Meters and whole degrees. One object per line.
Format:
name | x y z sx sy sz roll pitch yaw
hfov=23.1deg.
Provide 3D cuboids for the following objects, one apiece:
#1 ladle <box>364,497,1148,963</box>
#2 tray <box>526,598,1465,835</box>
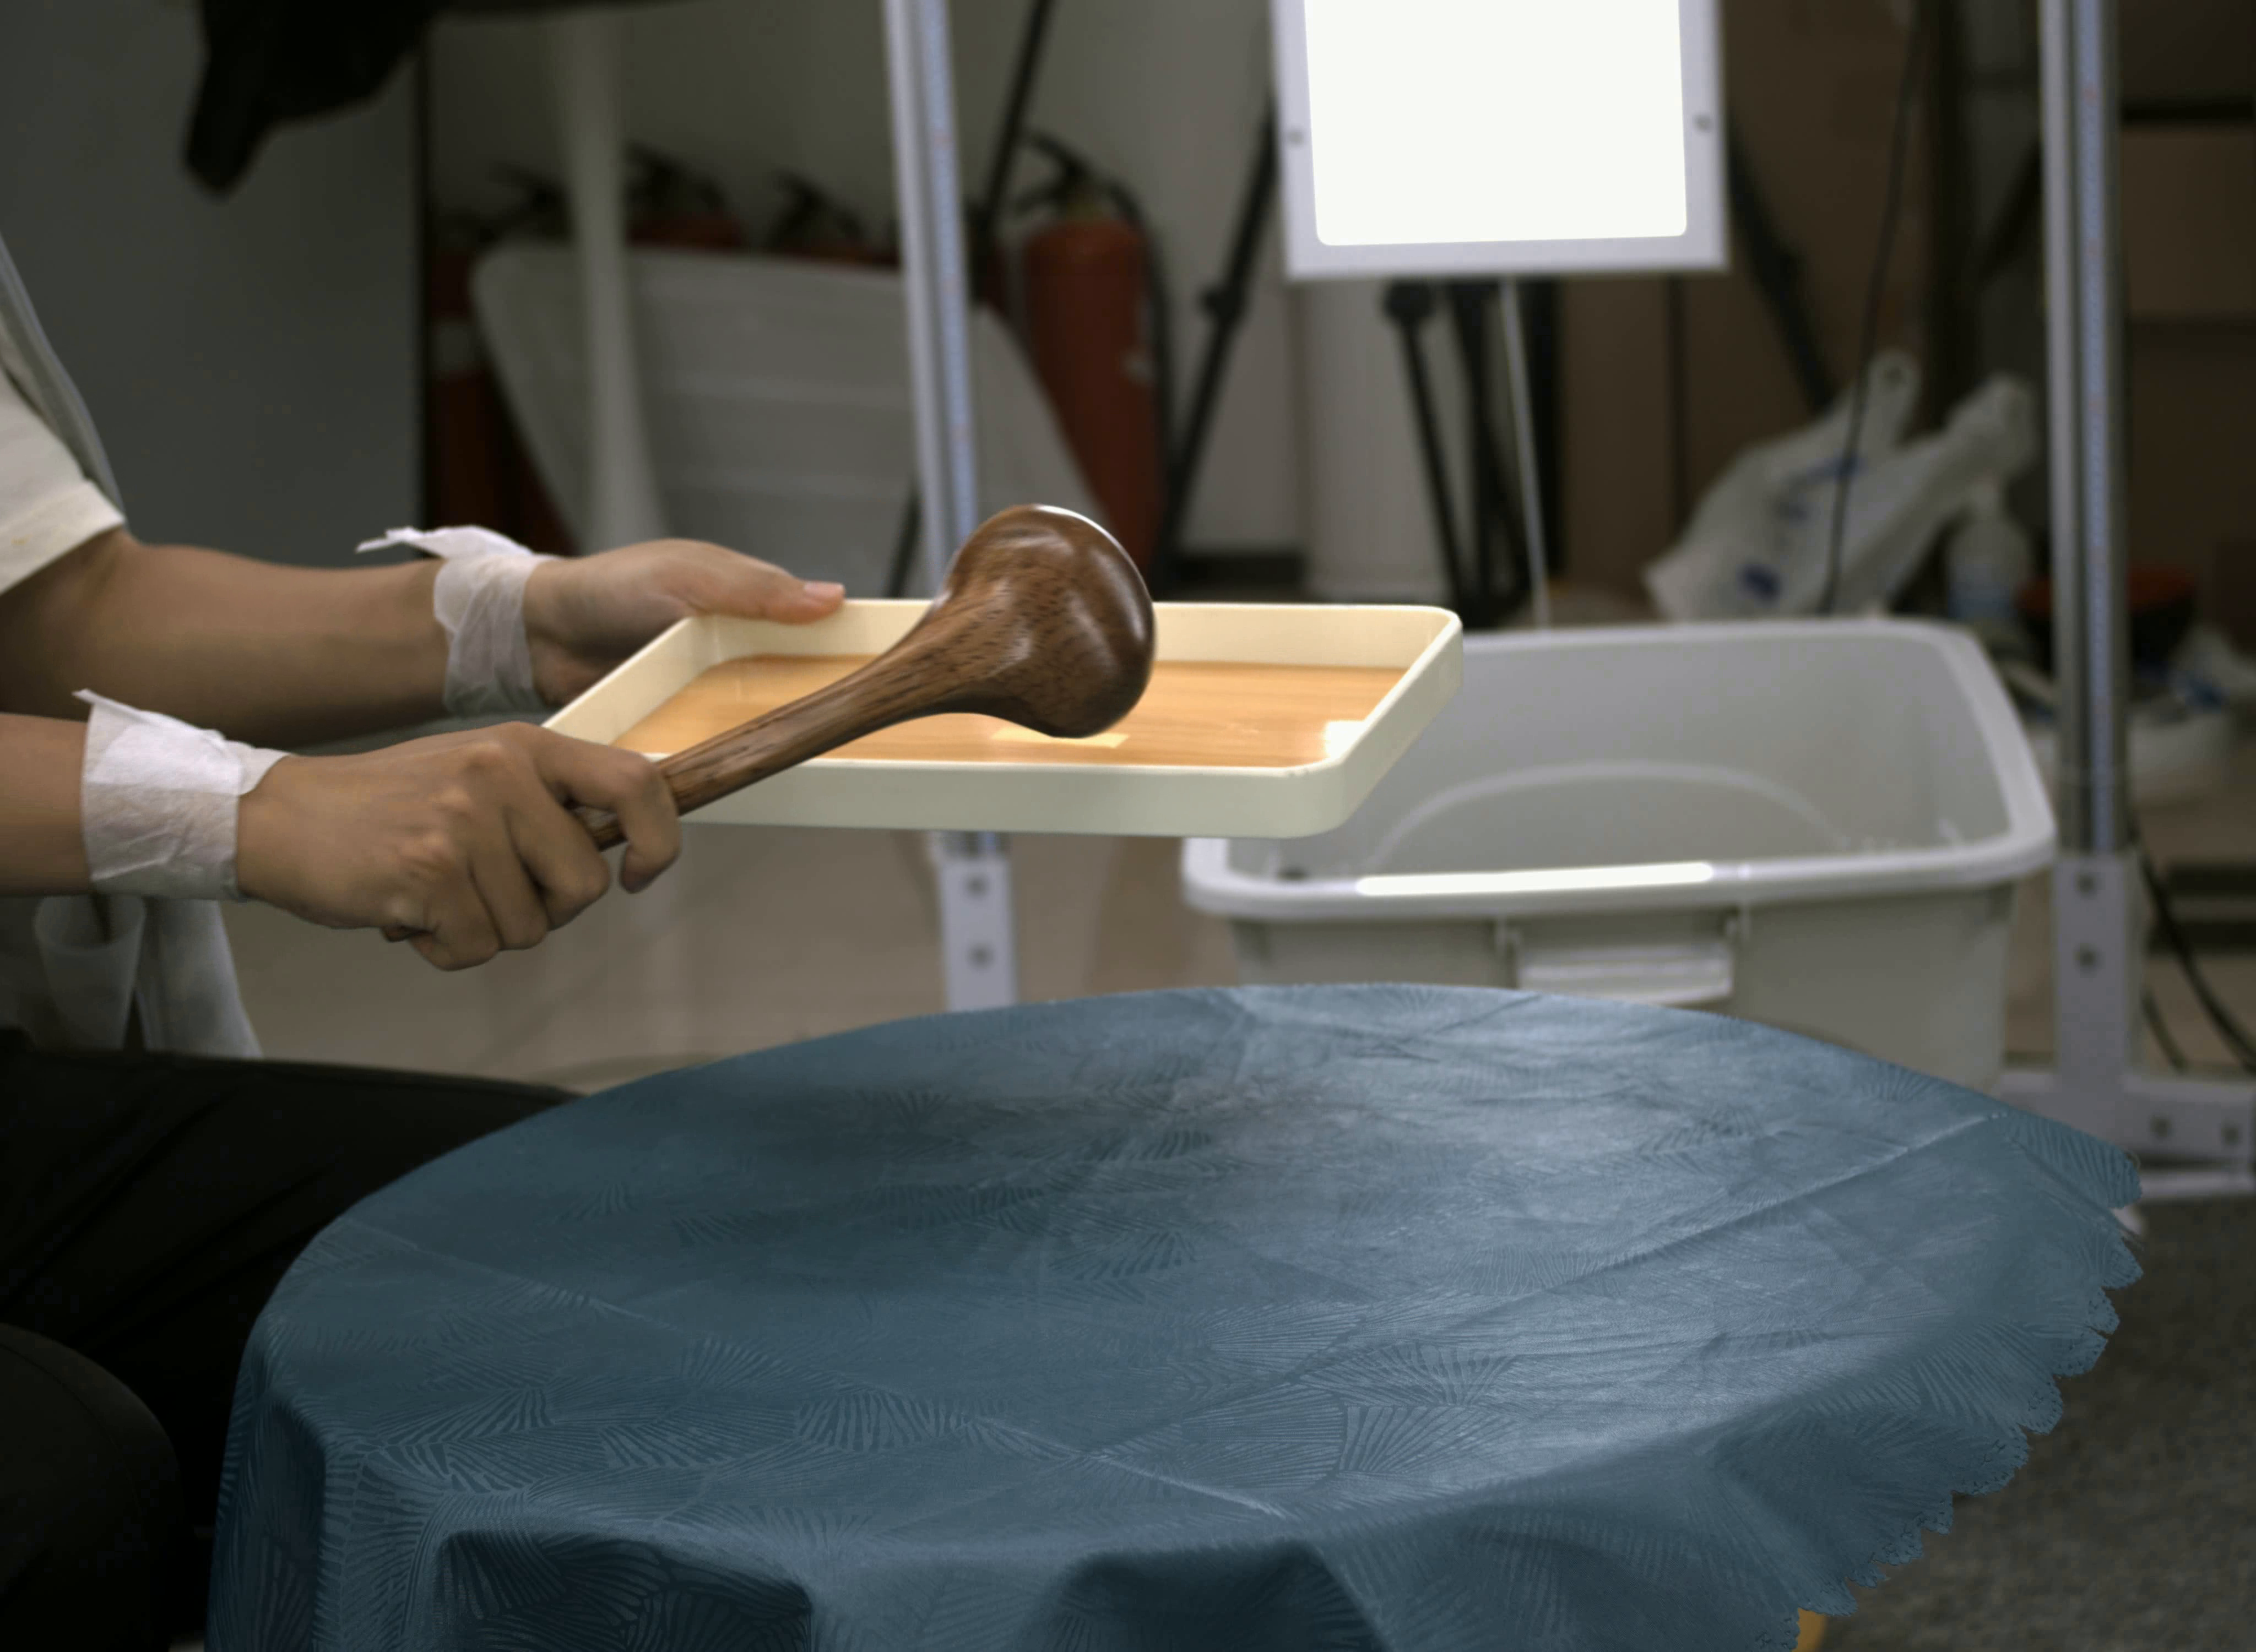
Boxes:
ladle | -0.122 -0.025 1.815 0.274 0.082 0.076 -26 -7 4
tray | -0.044 -0.040 1.952 0.304 0.027 0.188 1 20 21
